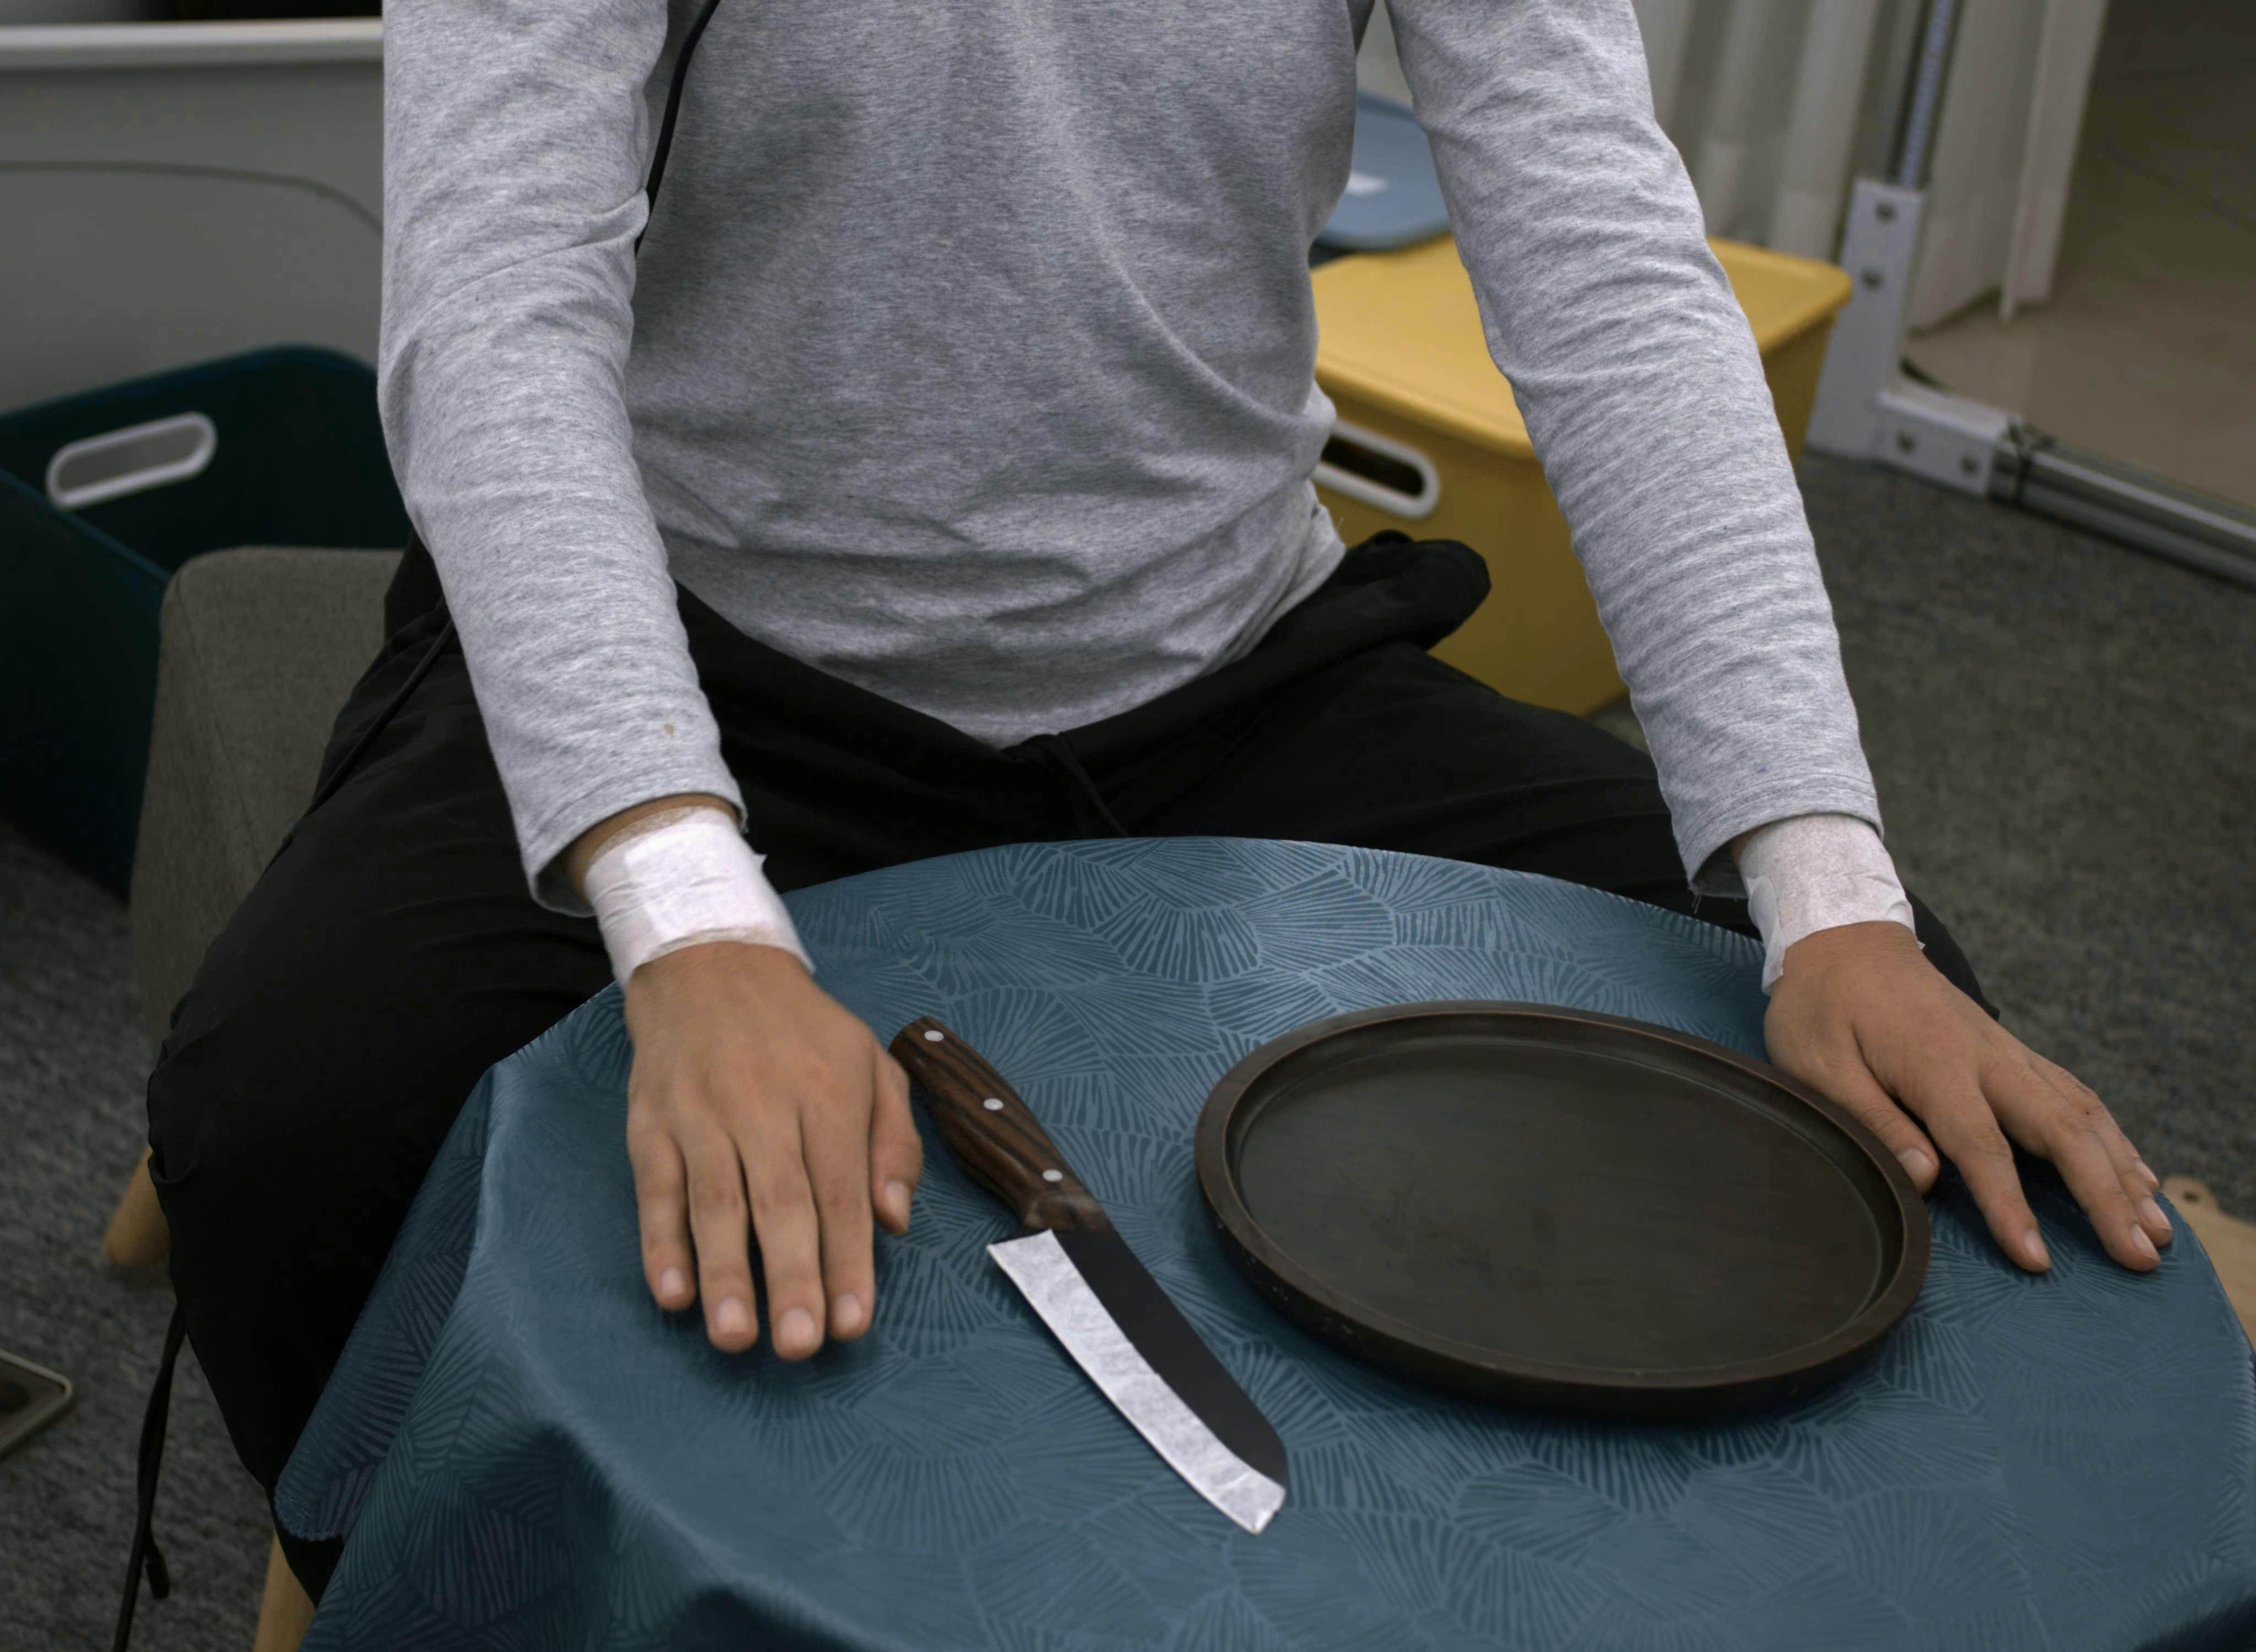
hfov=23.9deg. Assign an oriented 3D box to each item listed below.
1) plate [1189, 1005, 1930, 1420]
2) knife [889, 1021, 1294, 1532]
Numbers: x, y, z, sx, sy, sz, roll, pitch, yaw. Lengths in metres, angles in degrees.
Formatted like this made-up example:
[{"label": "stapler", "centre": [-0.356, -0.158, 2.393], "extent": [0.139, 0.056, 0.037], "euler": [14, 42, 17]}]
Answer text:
[{"label": "plate", "centre": [0.145, 0.128, 1.802], "extent": [0.254, 0.029, 0.256], "euler": [3, 26, -2]}, {"label": "knife", "centre": [-0.015, 0.145, 1.743], "extent": [0.050, 0.020, 0.292], "euler": [-11, 34, -21]}]
